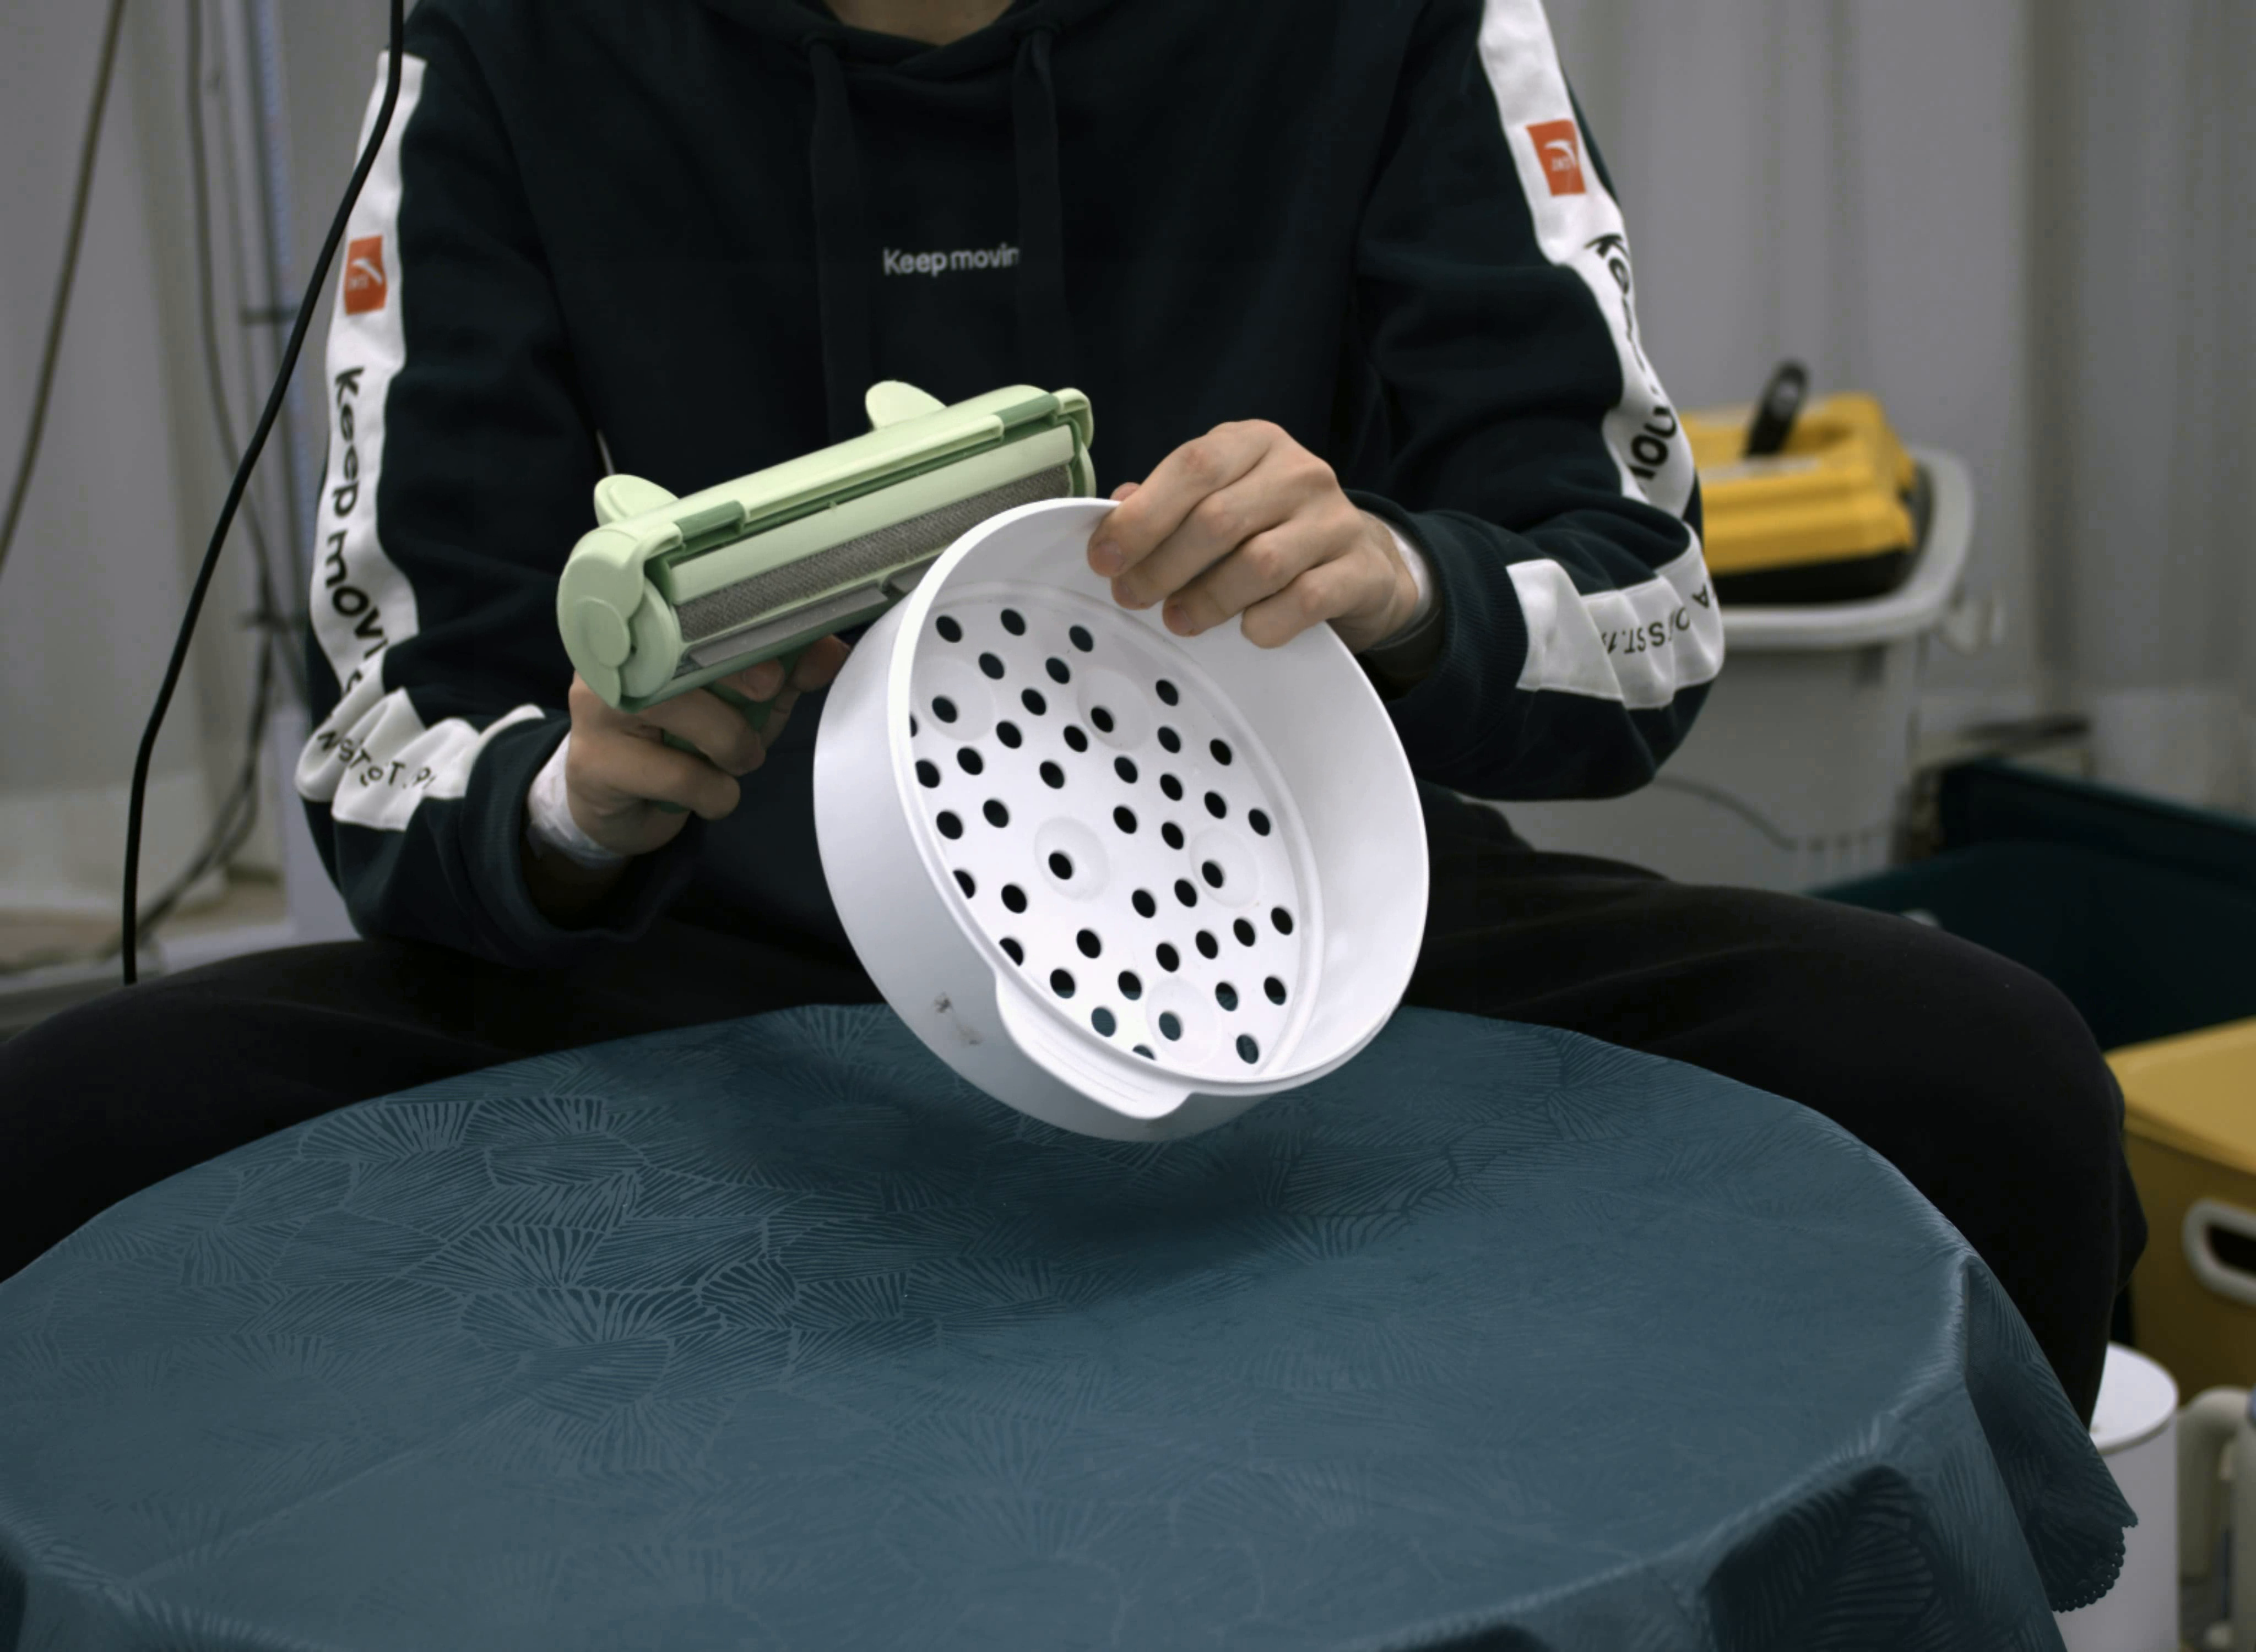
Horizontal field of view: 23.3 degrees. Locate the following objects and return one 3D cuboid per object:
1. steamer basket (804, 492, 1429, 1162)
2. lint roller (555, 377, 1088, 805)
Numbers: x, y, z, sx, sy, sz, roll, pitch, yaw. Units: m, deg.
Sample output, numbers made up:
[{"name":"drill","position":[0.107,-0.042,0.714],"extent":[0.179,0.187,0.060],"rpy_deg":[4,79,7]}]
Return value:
[{"name":"steamer basket","position":[-0.004,0.005,1.700],"extent":[0.200,0.233,0.069],"rpy_deg":[31,-36,-20]},{"name":"lint roller","position":[-0.126,-0.075,1.775],"extent":[0.198,0.082,0.182],"rpy_deg":[-24,-8,-41]}]
